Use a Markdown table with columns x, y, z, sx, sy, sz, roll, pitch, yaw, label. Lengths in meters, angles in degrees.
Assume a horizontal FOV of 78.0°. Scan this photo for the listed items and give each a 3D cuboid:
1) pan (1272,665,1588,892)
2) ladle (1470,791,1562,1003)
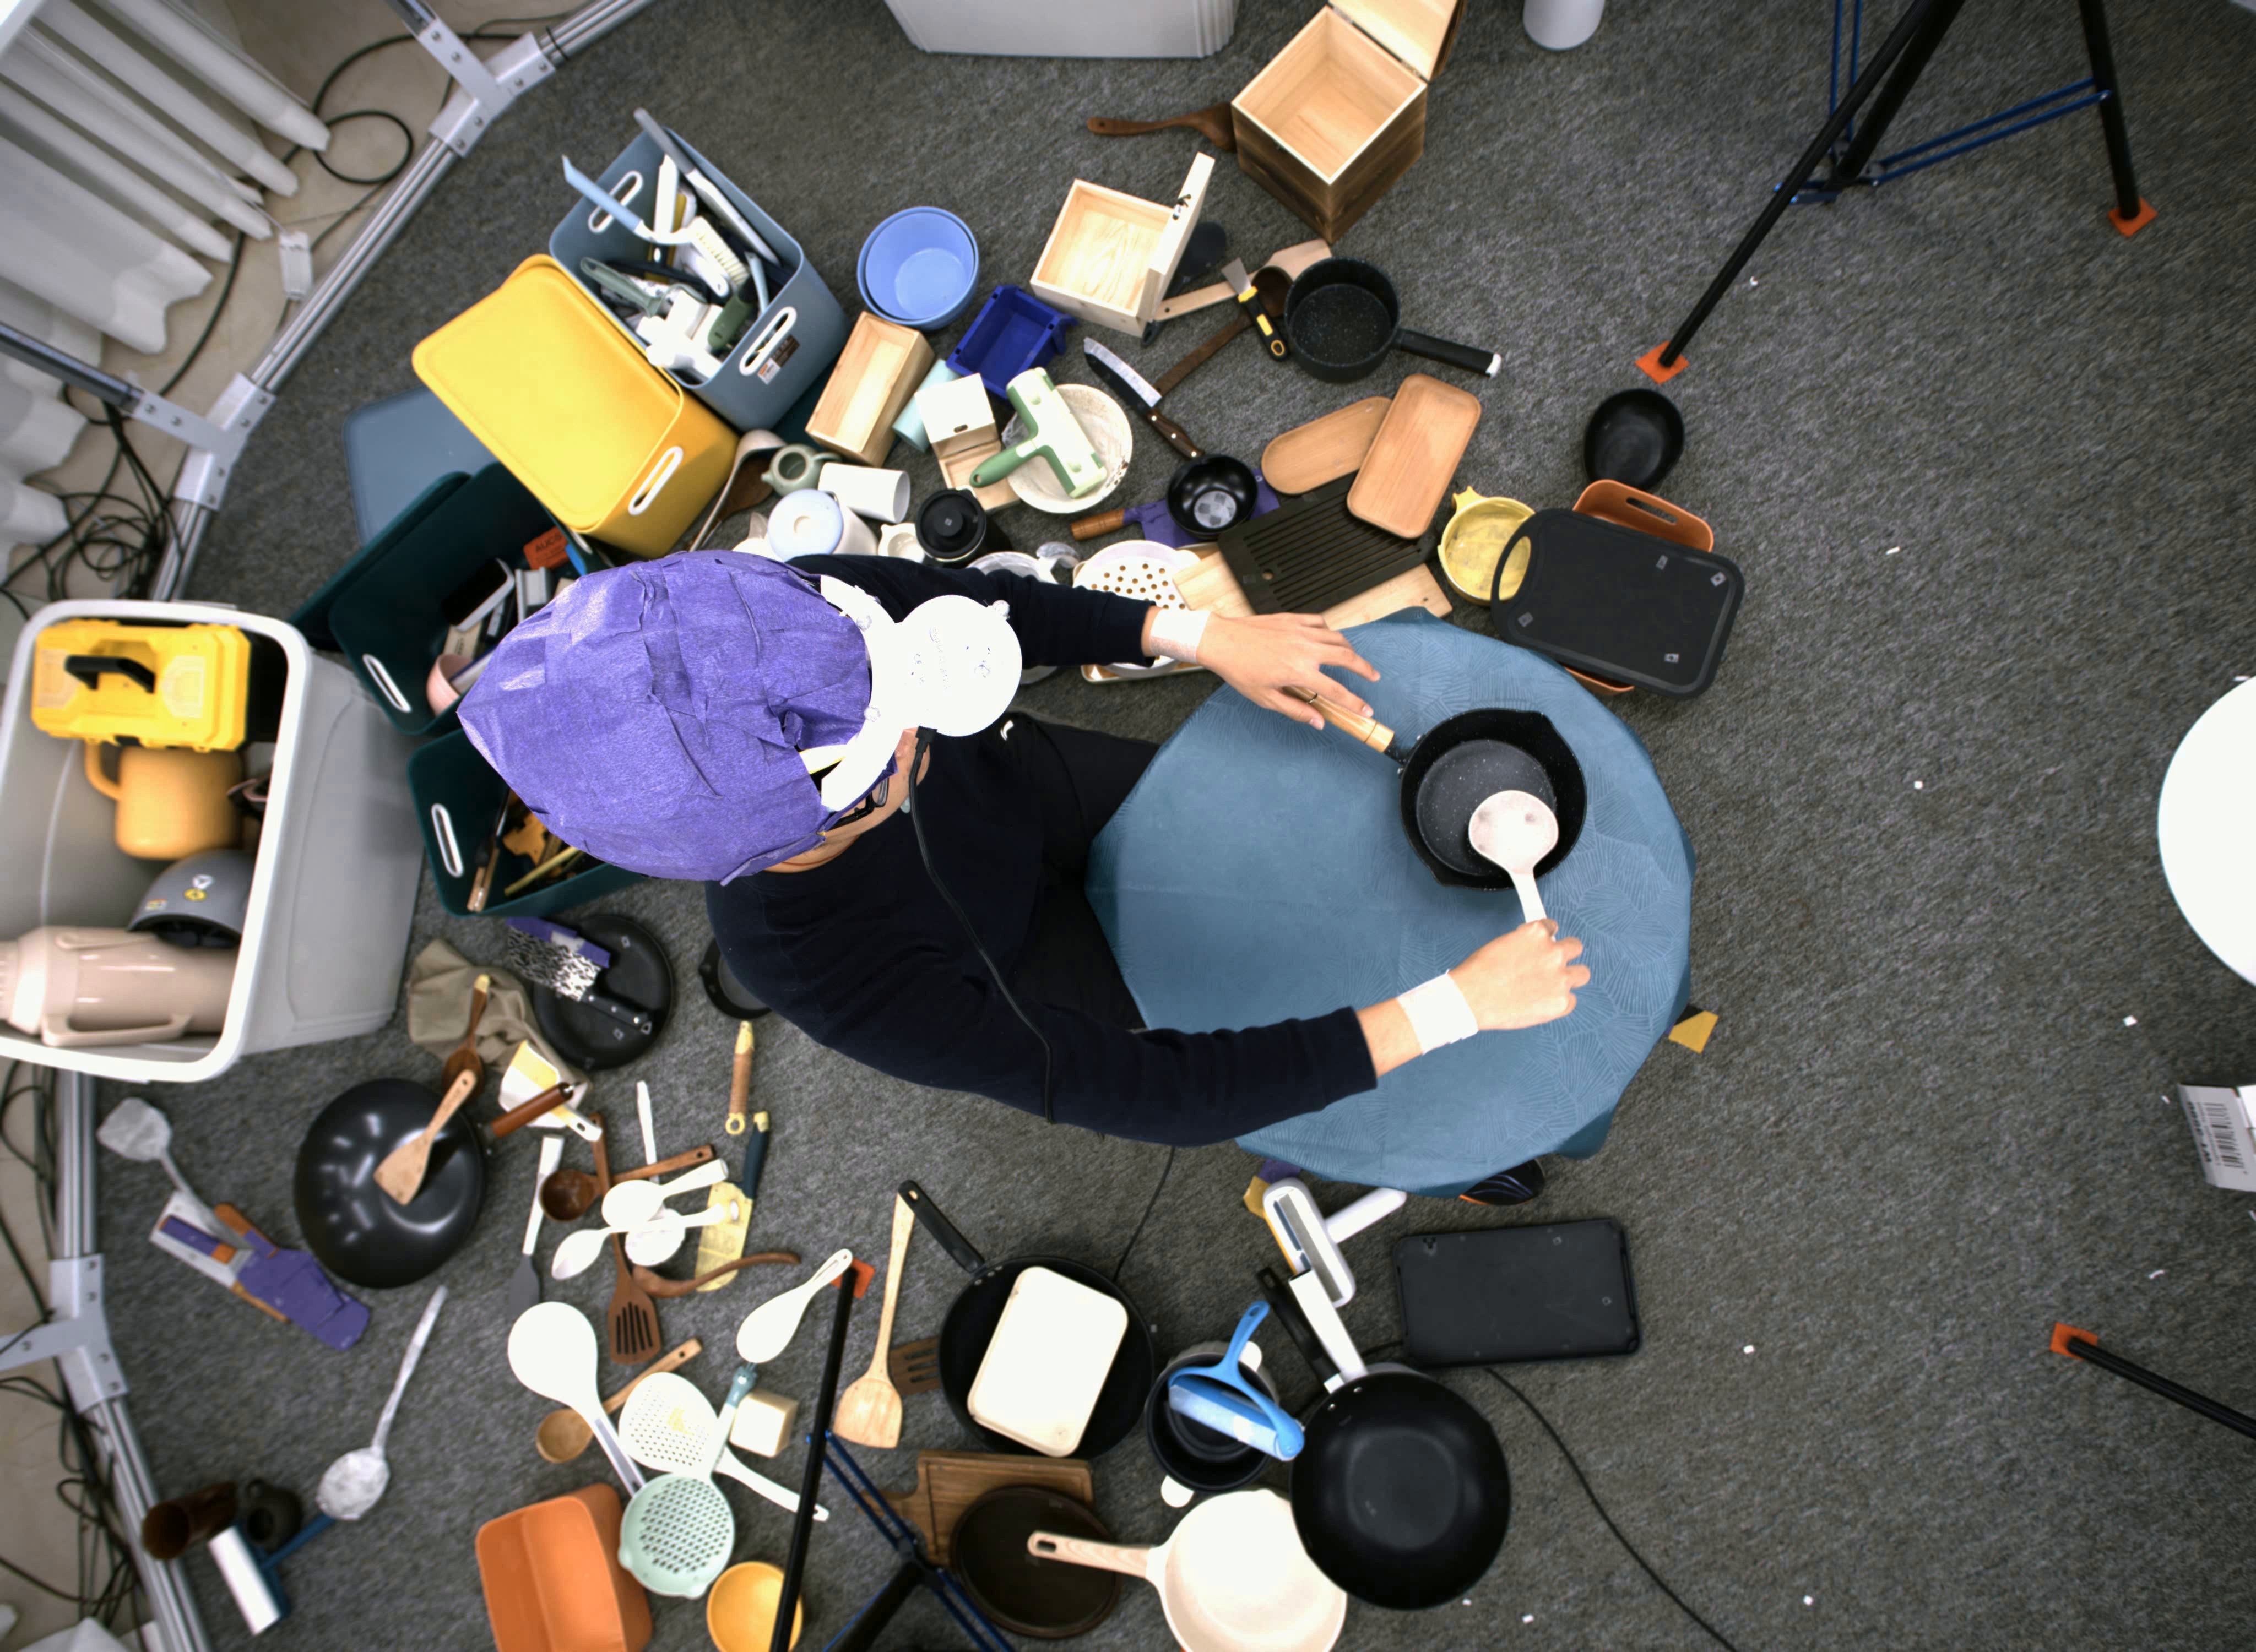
| x | y | z | sx | sy | sz | roll | pitch | yaw | label |
| --- | --- | --- | --- | --- | --- | --- | --- | --- | --- |
| 0.299 | -0.064 | 1.407 | 0.342 | 0.108 | 0.208 | 29 | 93 | 9 | pan |
| 0.382 | 0.057 | 1.301 | 0.089 | 0.268 | 0.071 | 2 | 120 | 5 | ladle |
